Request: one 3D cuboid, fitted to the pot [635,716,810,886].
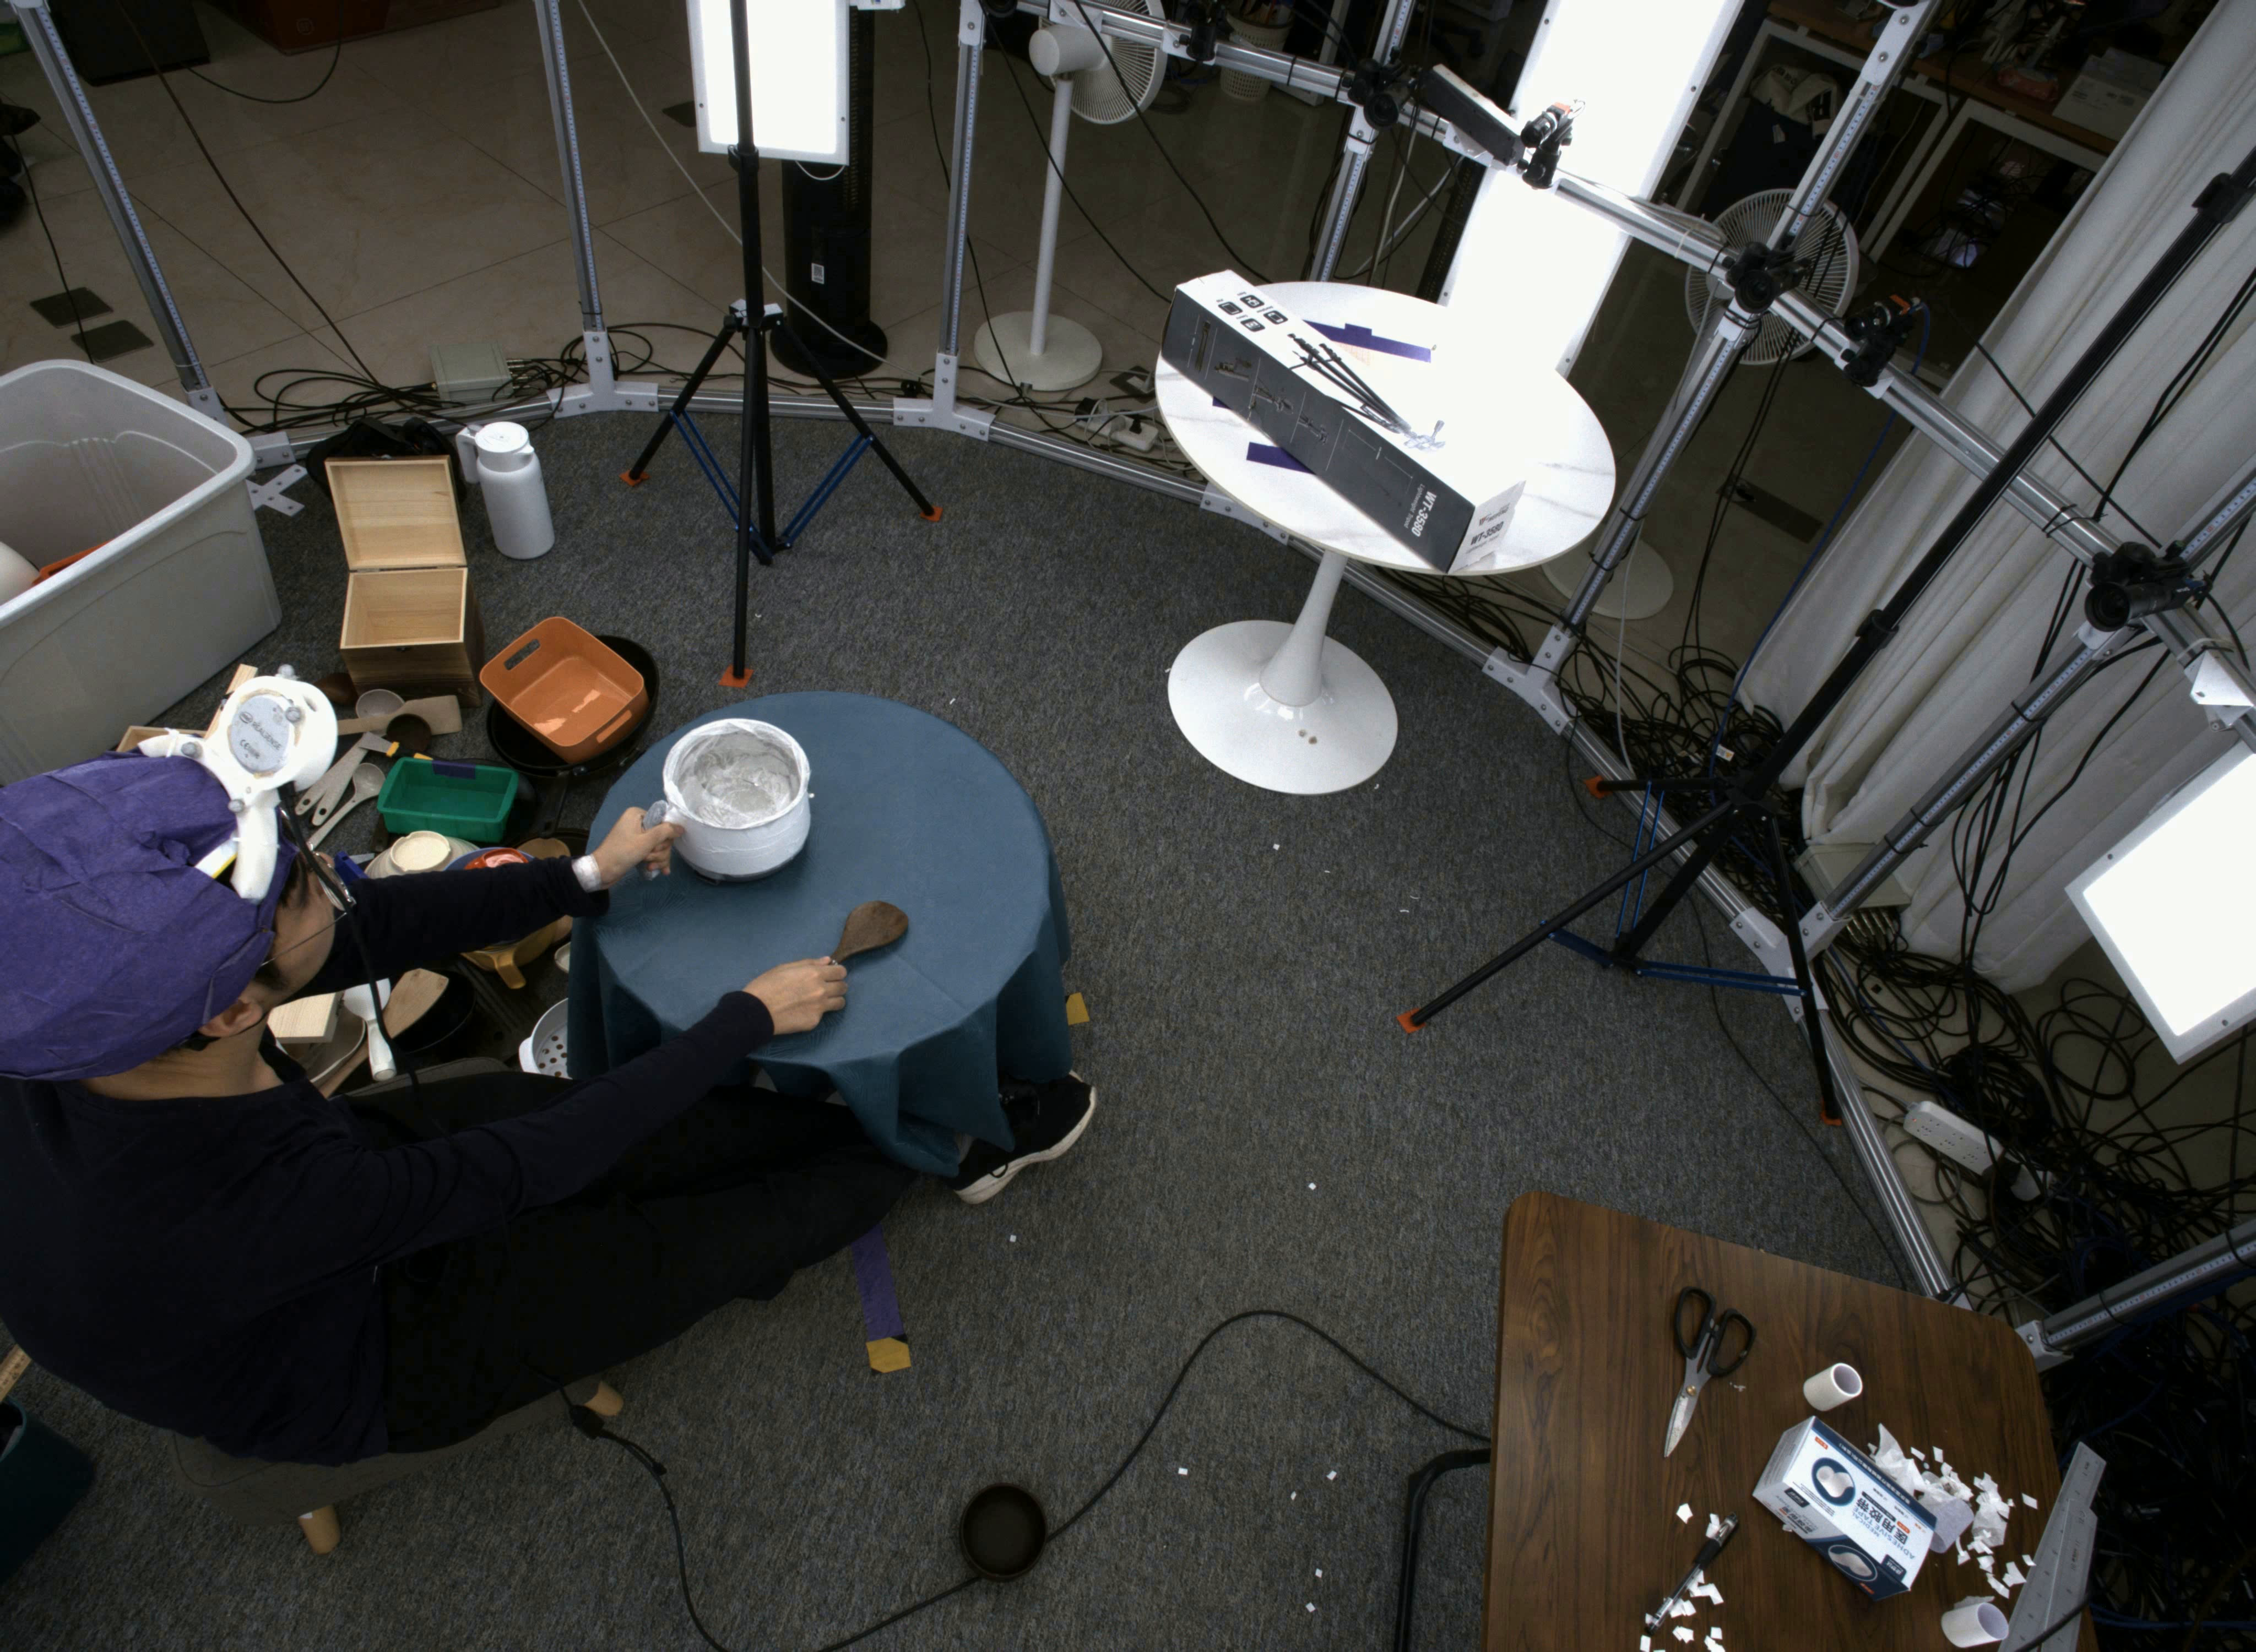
[{"bbox_3d":[-0.516,-0.019,1.632,0.234,0.139,0.174,-31,64,-33],"label":"pot"}]

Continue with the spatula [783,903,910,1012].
[{"bbox_3d":[-0.355,0.159,1.613,0.070,0.009,0.215,26,45,18],"label":"spatula"}]
